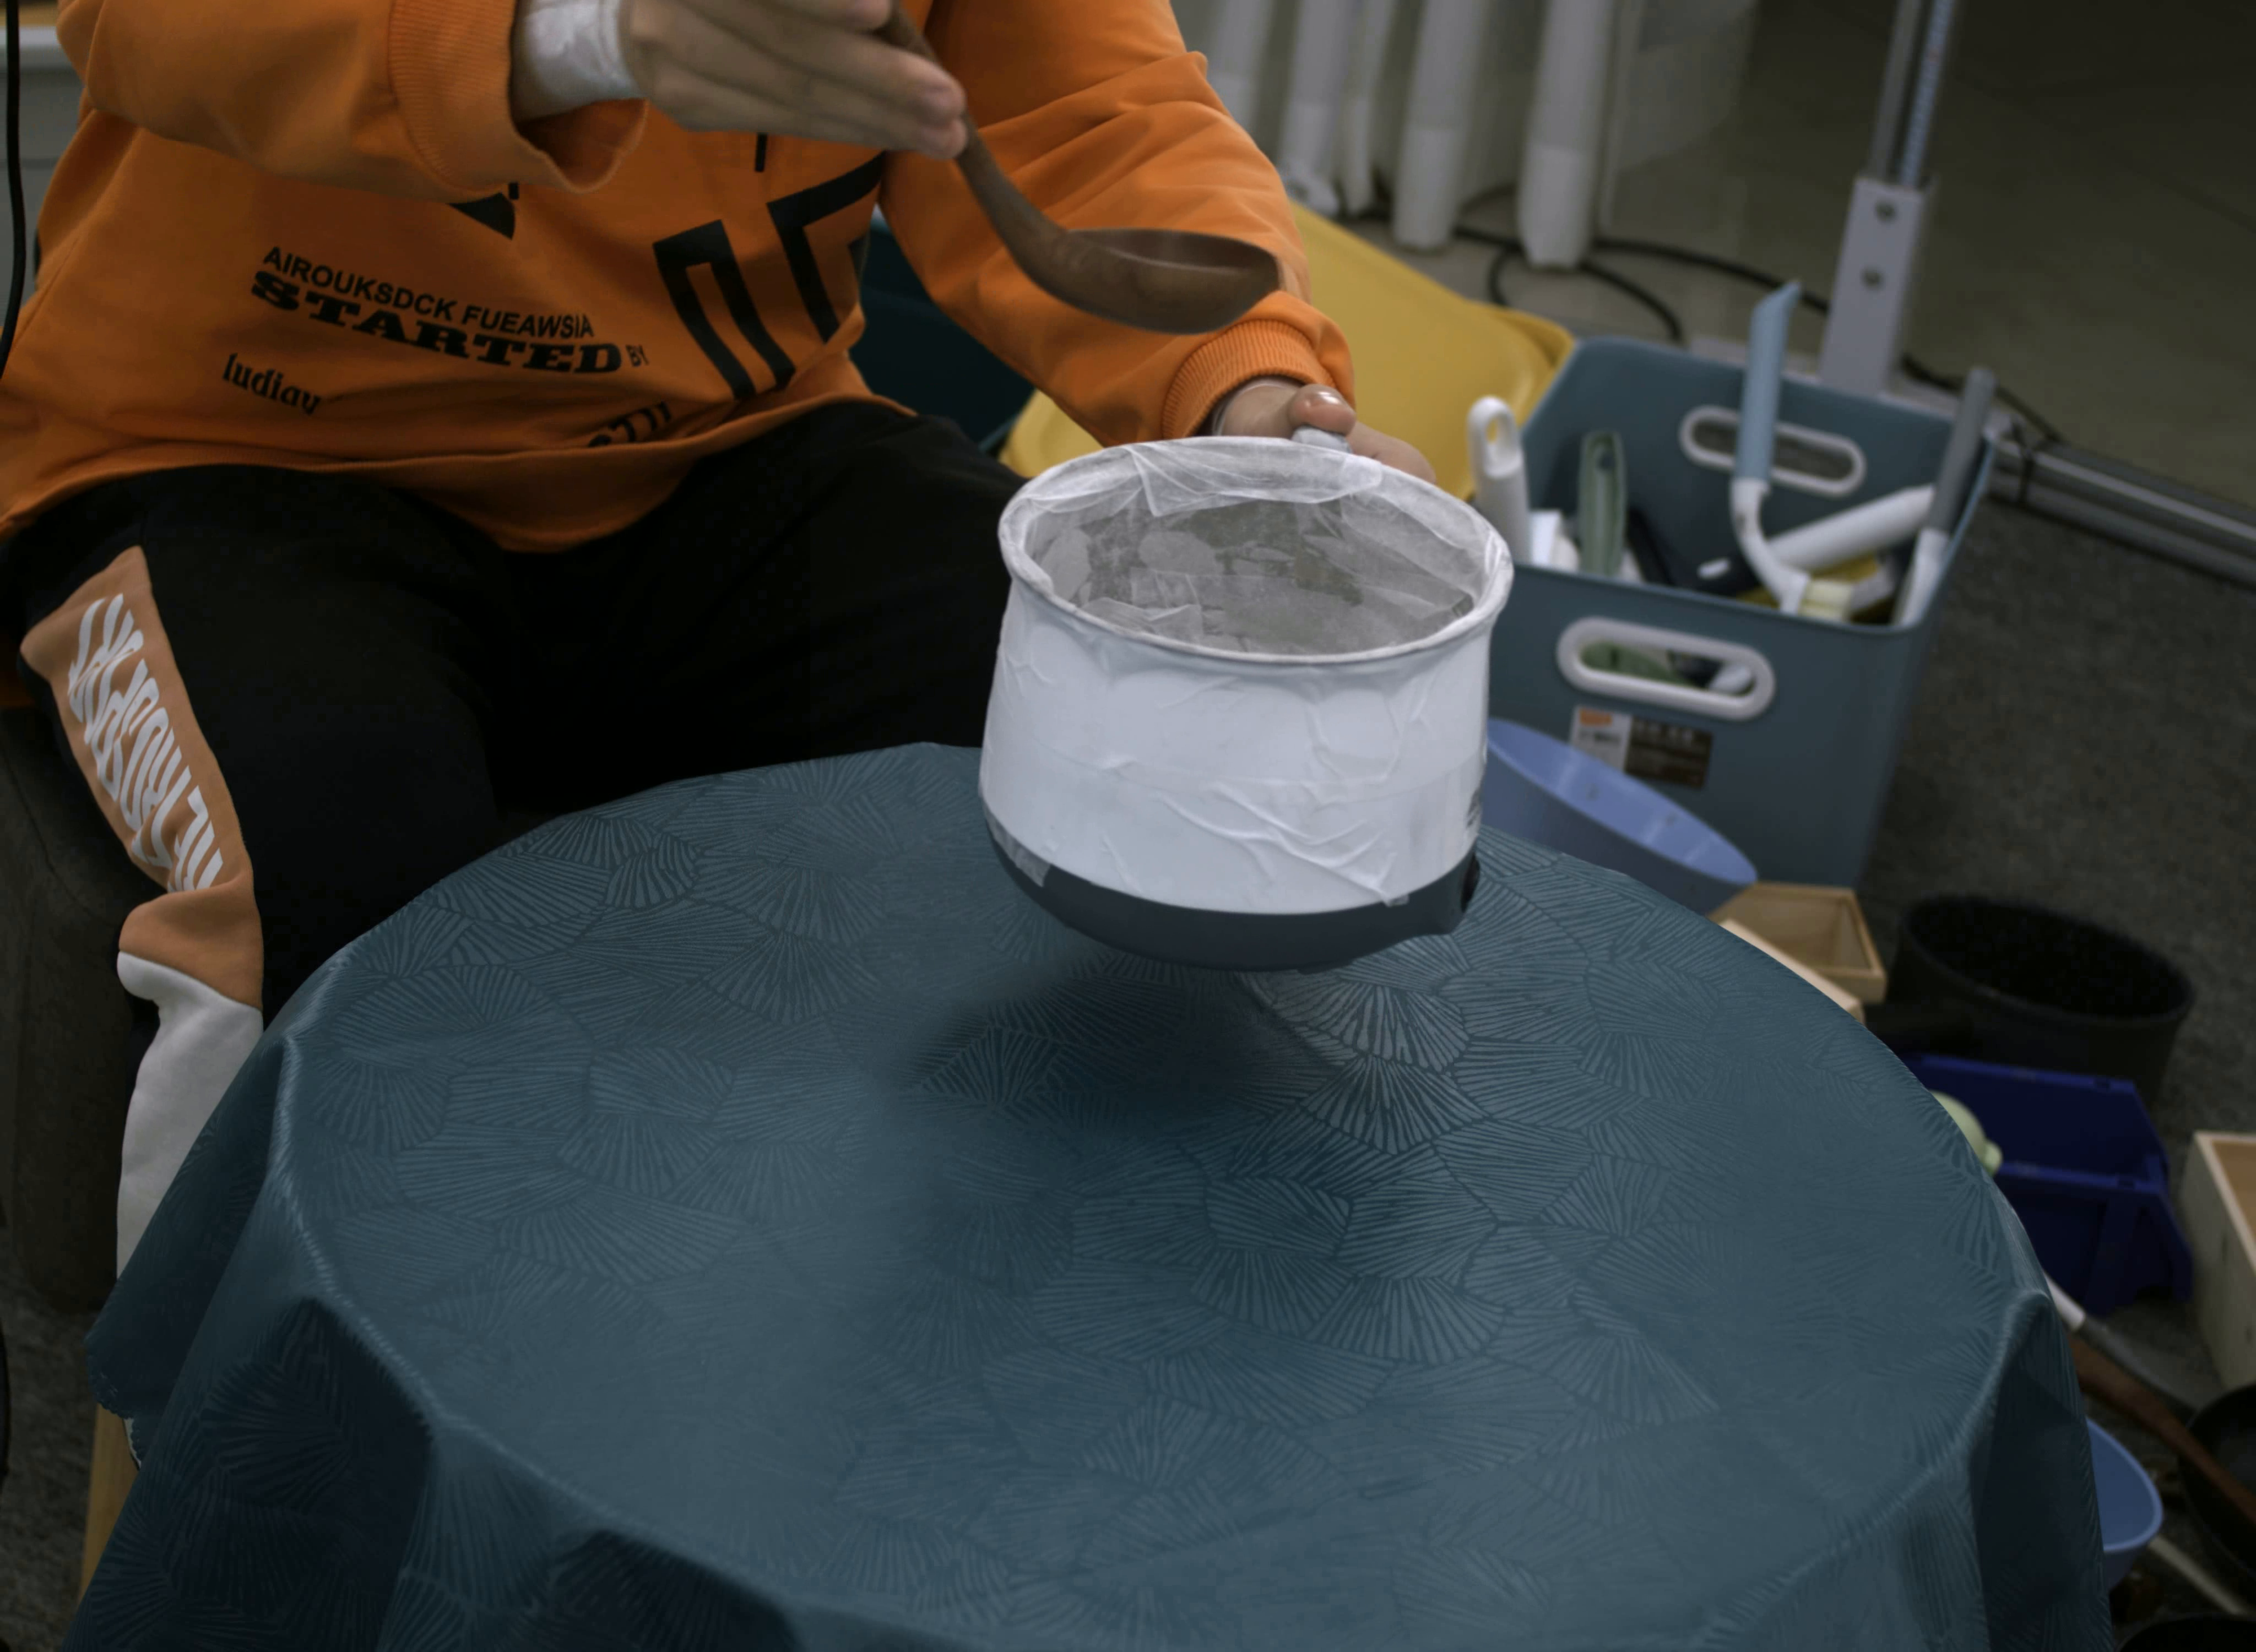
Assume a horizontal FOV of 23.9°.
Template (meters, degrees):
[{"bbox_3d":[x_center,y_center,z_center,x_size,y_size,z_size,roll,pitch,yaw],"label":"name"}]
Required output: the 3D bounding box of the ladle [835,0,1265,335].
[{"bbox_3d":[-0.051,-0.239,1.690,0.077,0.258,0.065,17,67,53],"label":"ladle"}]

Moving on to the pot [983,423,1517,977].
[{"bbox_3d":[0.046,-0.052,1.873,0.179,0.136,0.234,10,28,9],"label":"pot"}]
